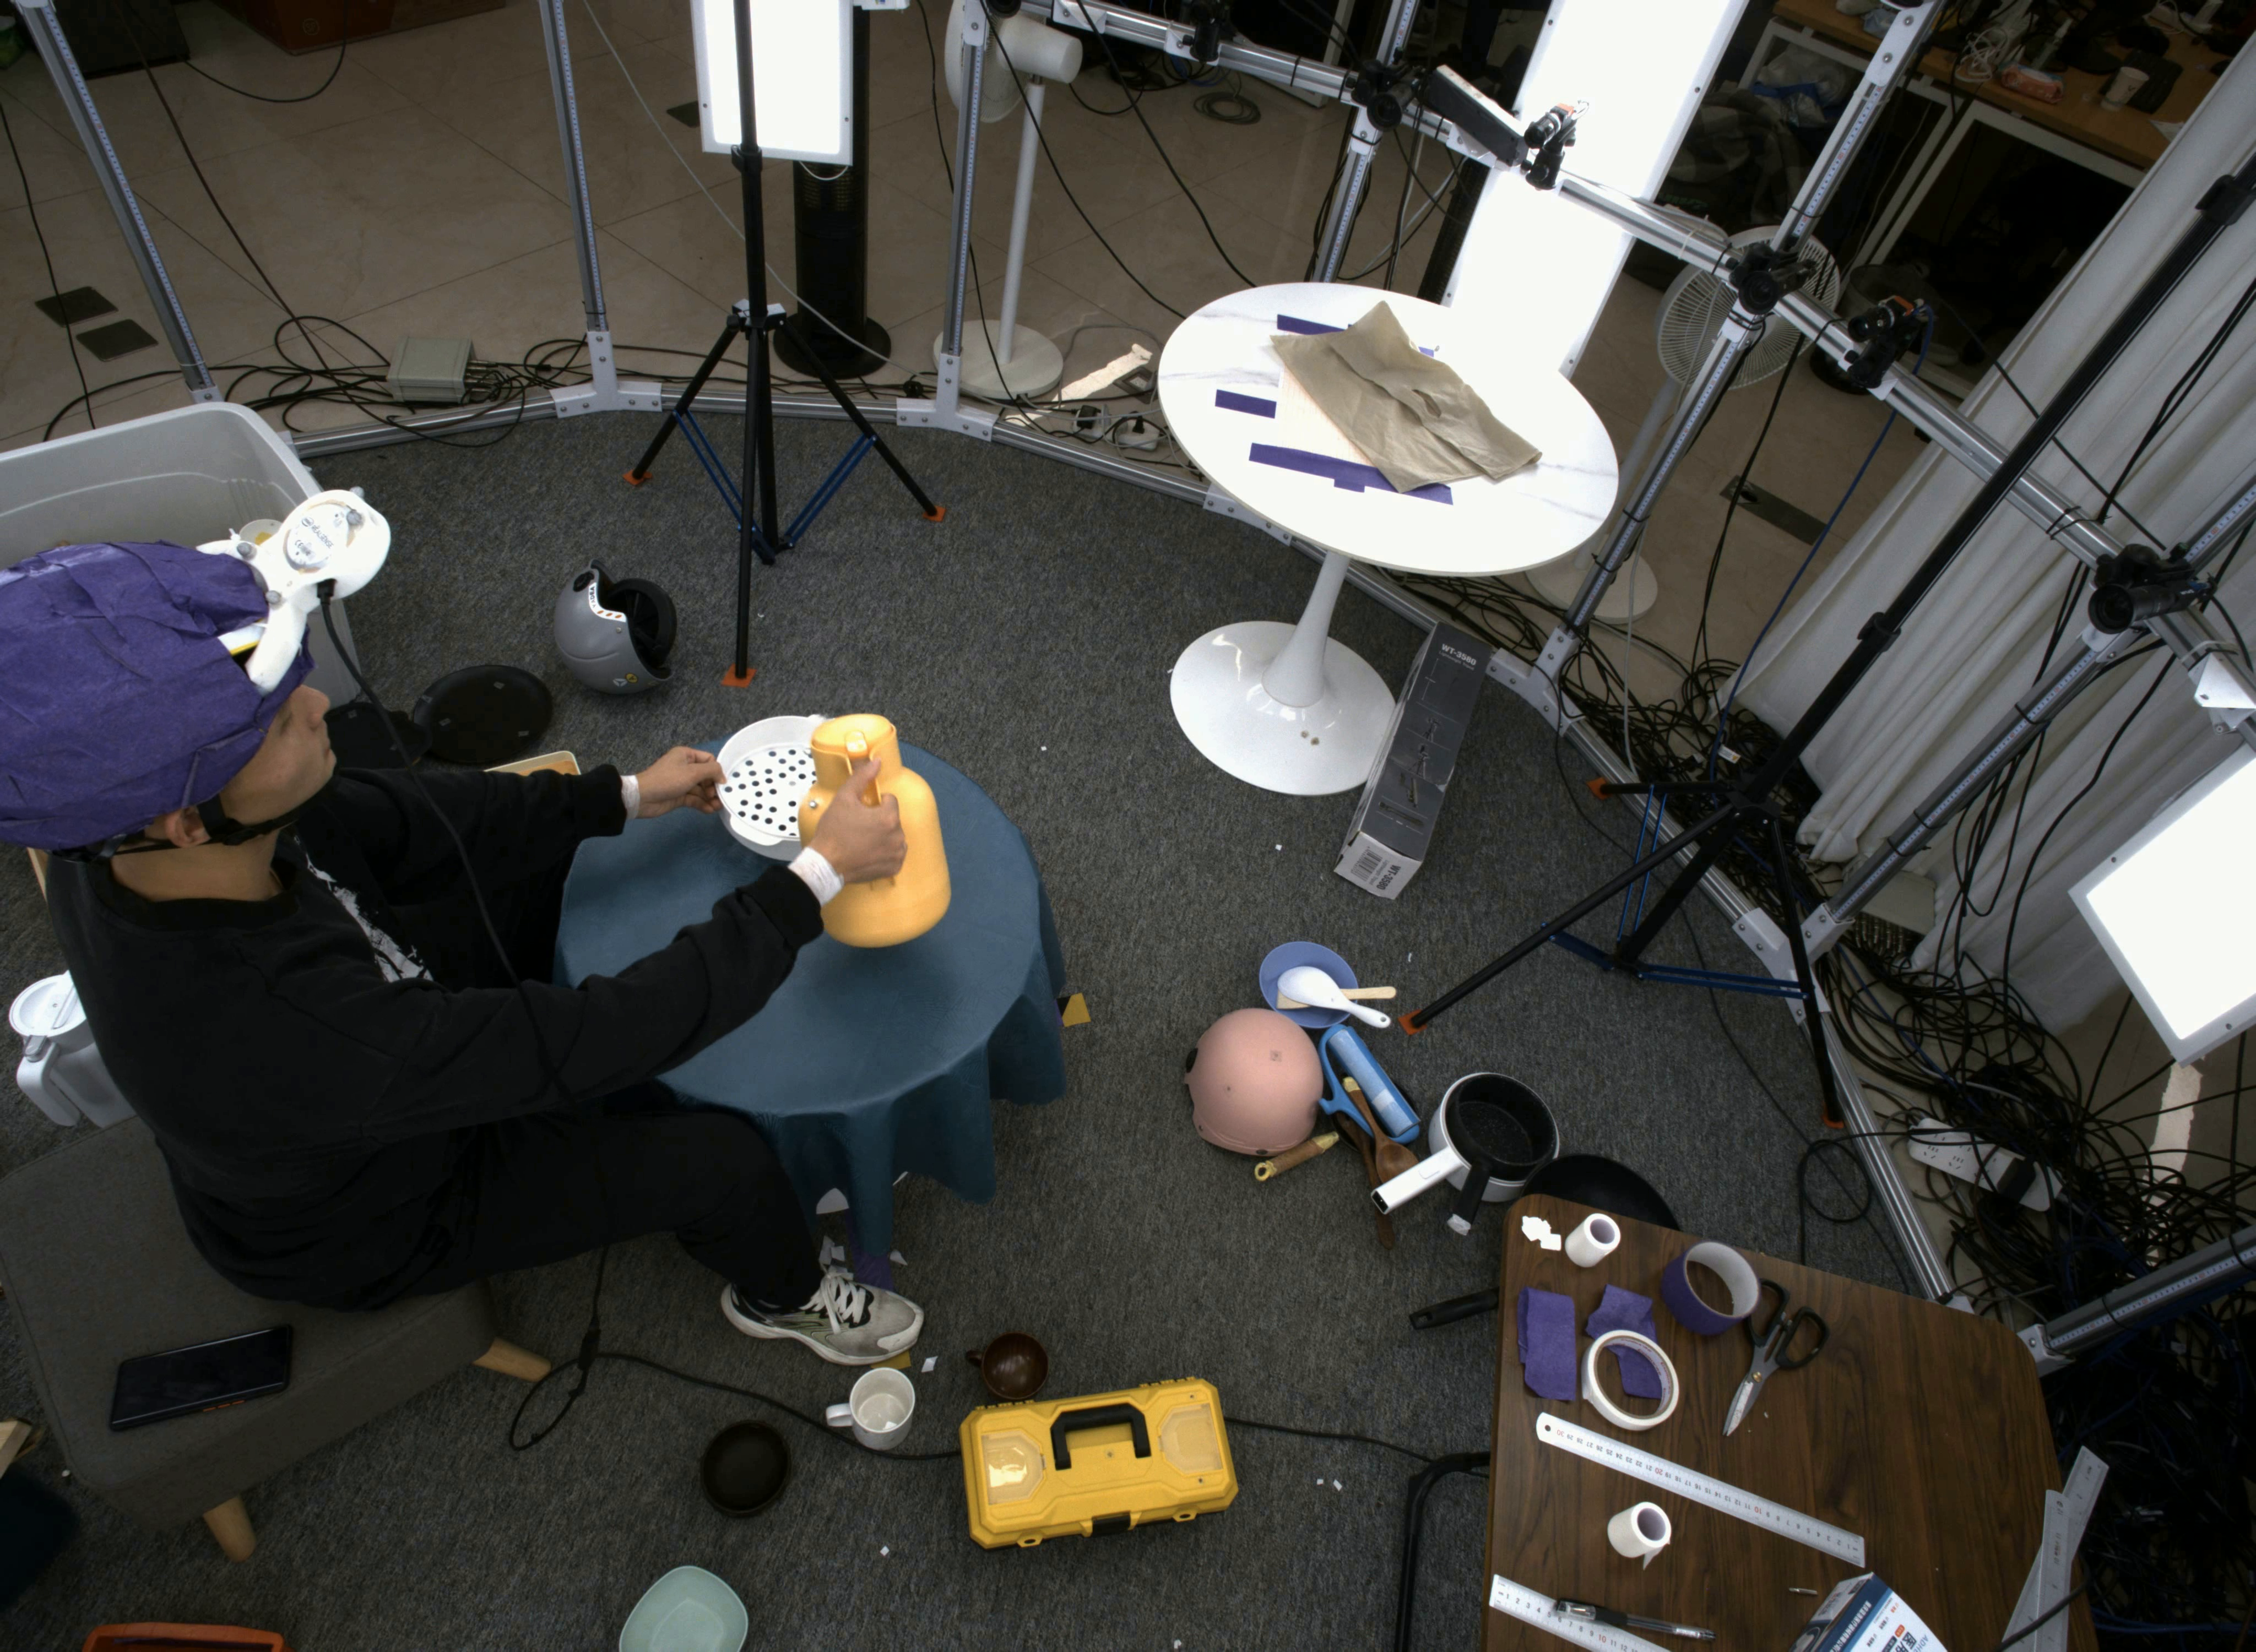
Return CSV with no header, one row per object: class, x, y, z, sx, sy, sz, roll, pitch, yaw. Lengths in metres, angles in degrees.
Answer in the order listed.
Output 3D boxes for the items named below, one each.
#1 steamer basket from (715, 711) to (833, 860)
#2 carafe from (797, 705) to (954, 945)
steamer basket,-0.436,-0.050,1.690,0.201,0.070,0.228,27,50,-2
carafe,-0.294,0.002,1.479,0.163,0.269,0.196,-13,28,-10
